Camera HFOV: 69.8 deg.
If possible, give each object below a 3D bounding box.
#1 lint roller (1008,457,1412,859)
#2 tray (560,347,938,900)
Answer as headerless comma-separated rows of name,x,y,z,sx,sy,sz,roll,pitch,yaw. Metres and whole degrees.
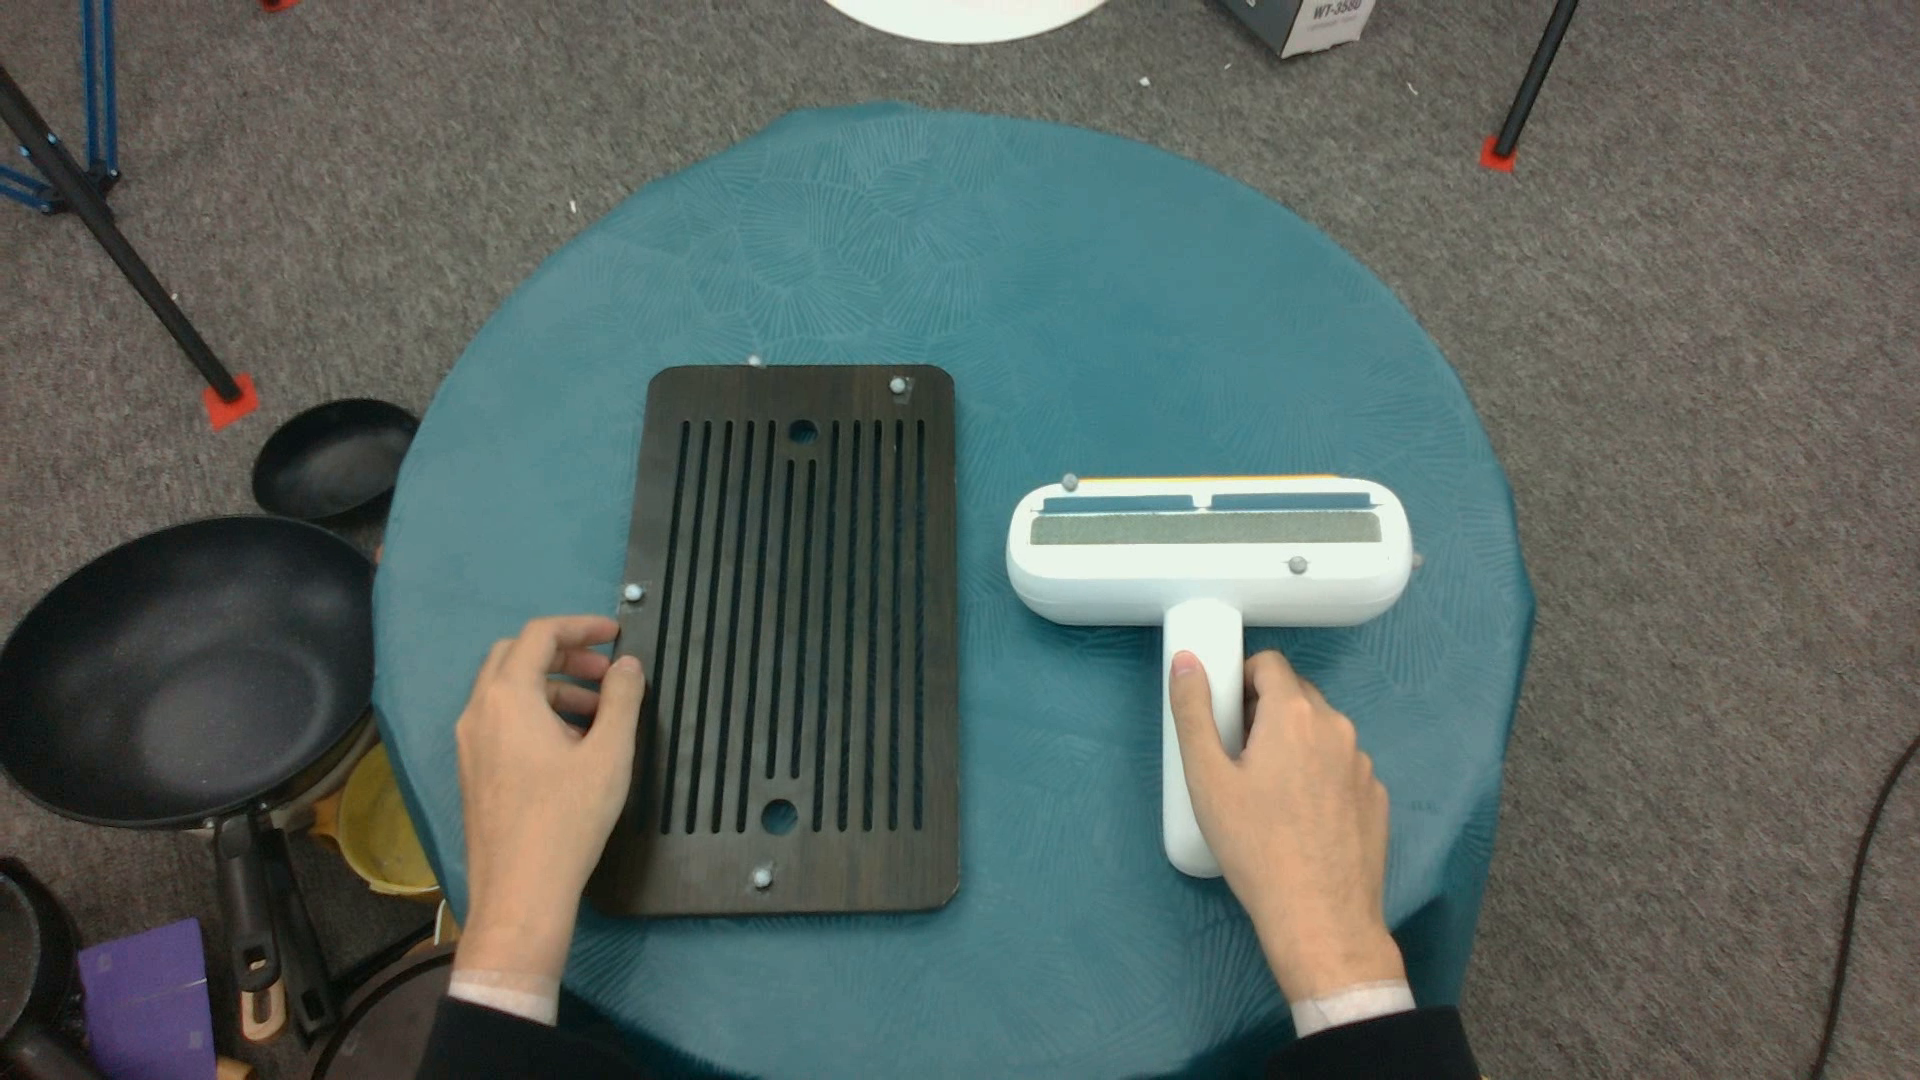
lint roller,0.112,0.051,0.653,0.193,0.074,0.193,5,61,8
tray,-0.096,0.029,0.692,0.170,0.018,0.307,0,60,-1
